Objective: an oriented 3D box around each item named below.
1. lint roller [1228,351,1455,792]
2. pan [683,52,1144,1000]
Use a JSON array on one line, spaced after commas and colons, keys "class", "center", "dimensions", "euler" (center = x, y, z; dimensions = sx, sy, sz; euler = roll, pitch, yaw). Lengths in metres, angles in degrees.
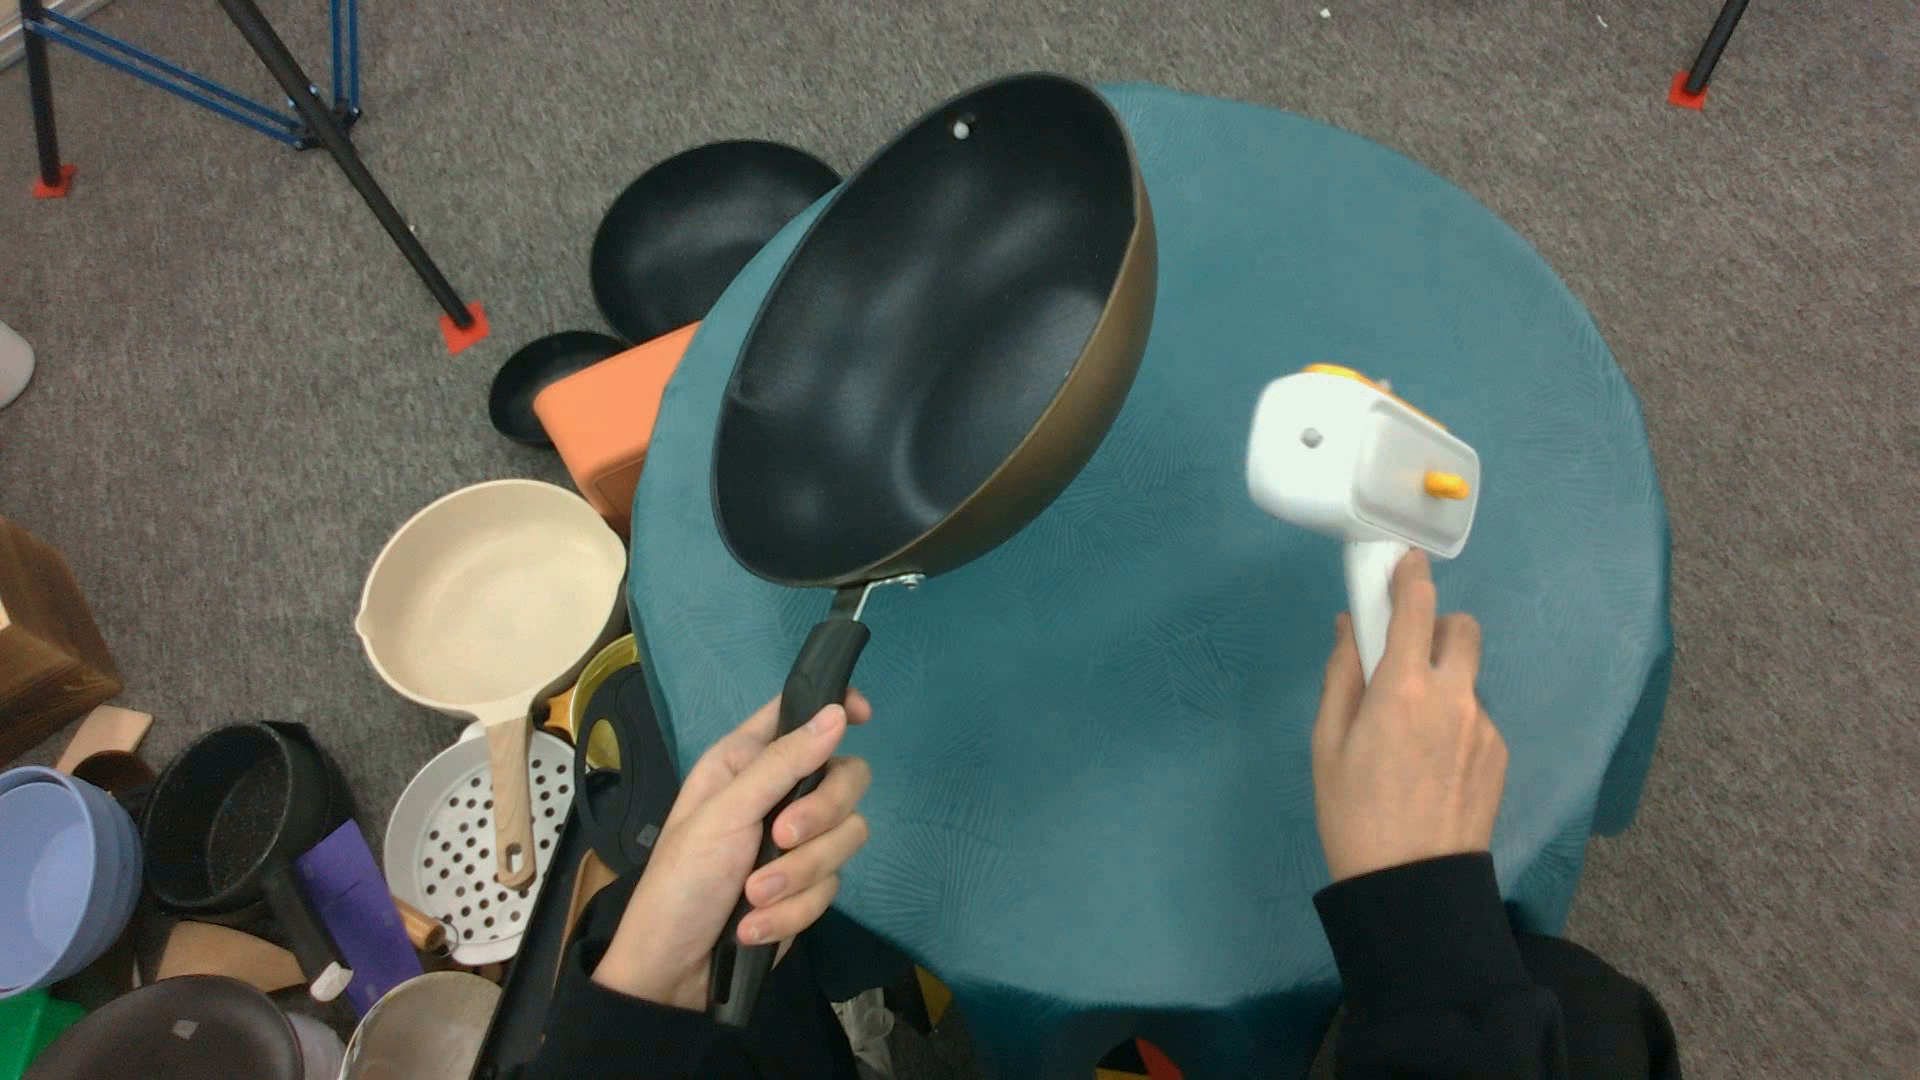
[{"class": "lint roller", "center": [0.187, 0.018, 0.640], "dimensions": [0.074, 0.193, 0.192], "euler": [0, 86, 31]}, {"class": "pan", "center": [-0.029, -0.017, 0.646], "dimensions": [0.287, 0.087, 0.465], "euler": [-13, 56, 43]}]
